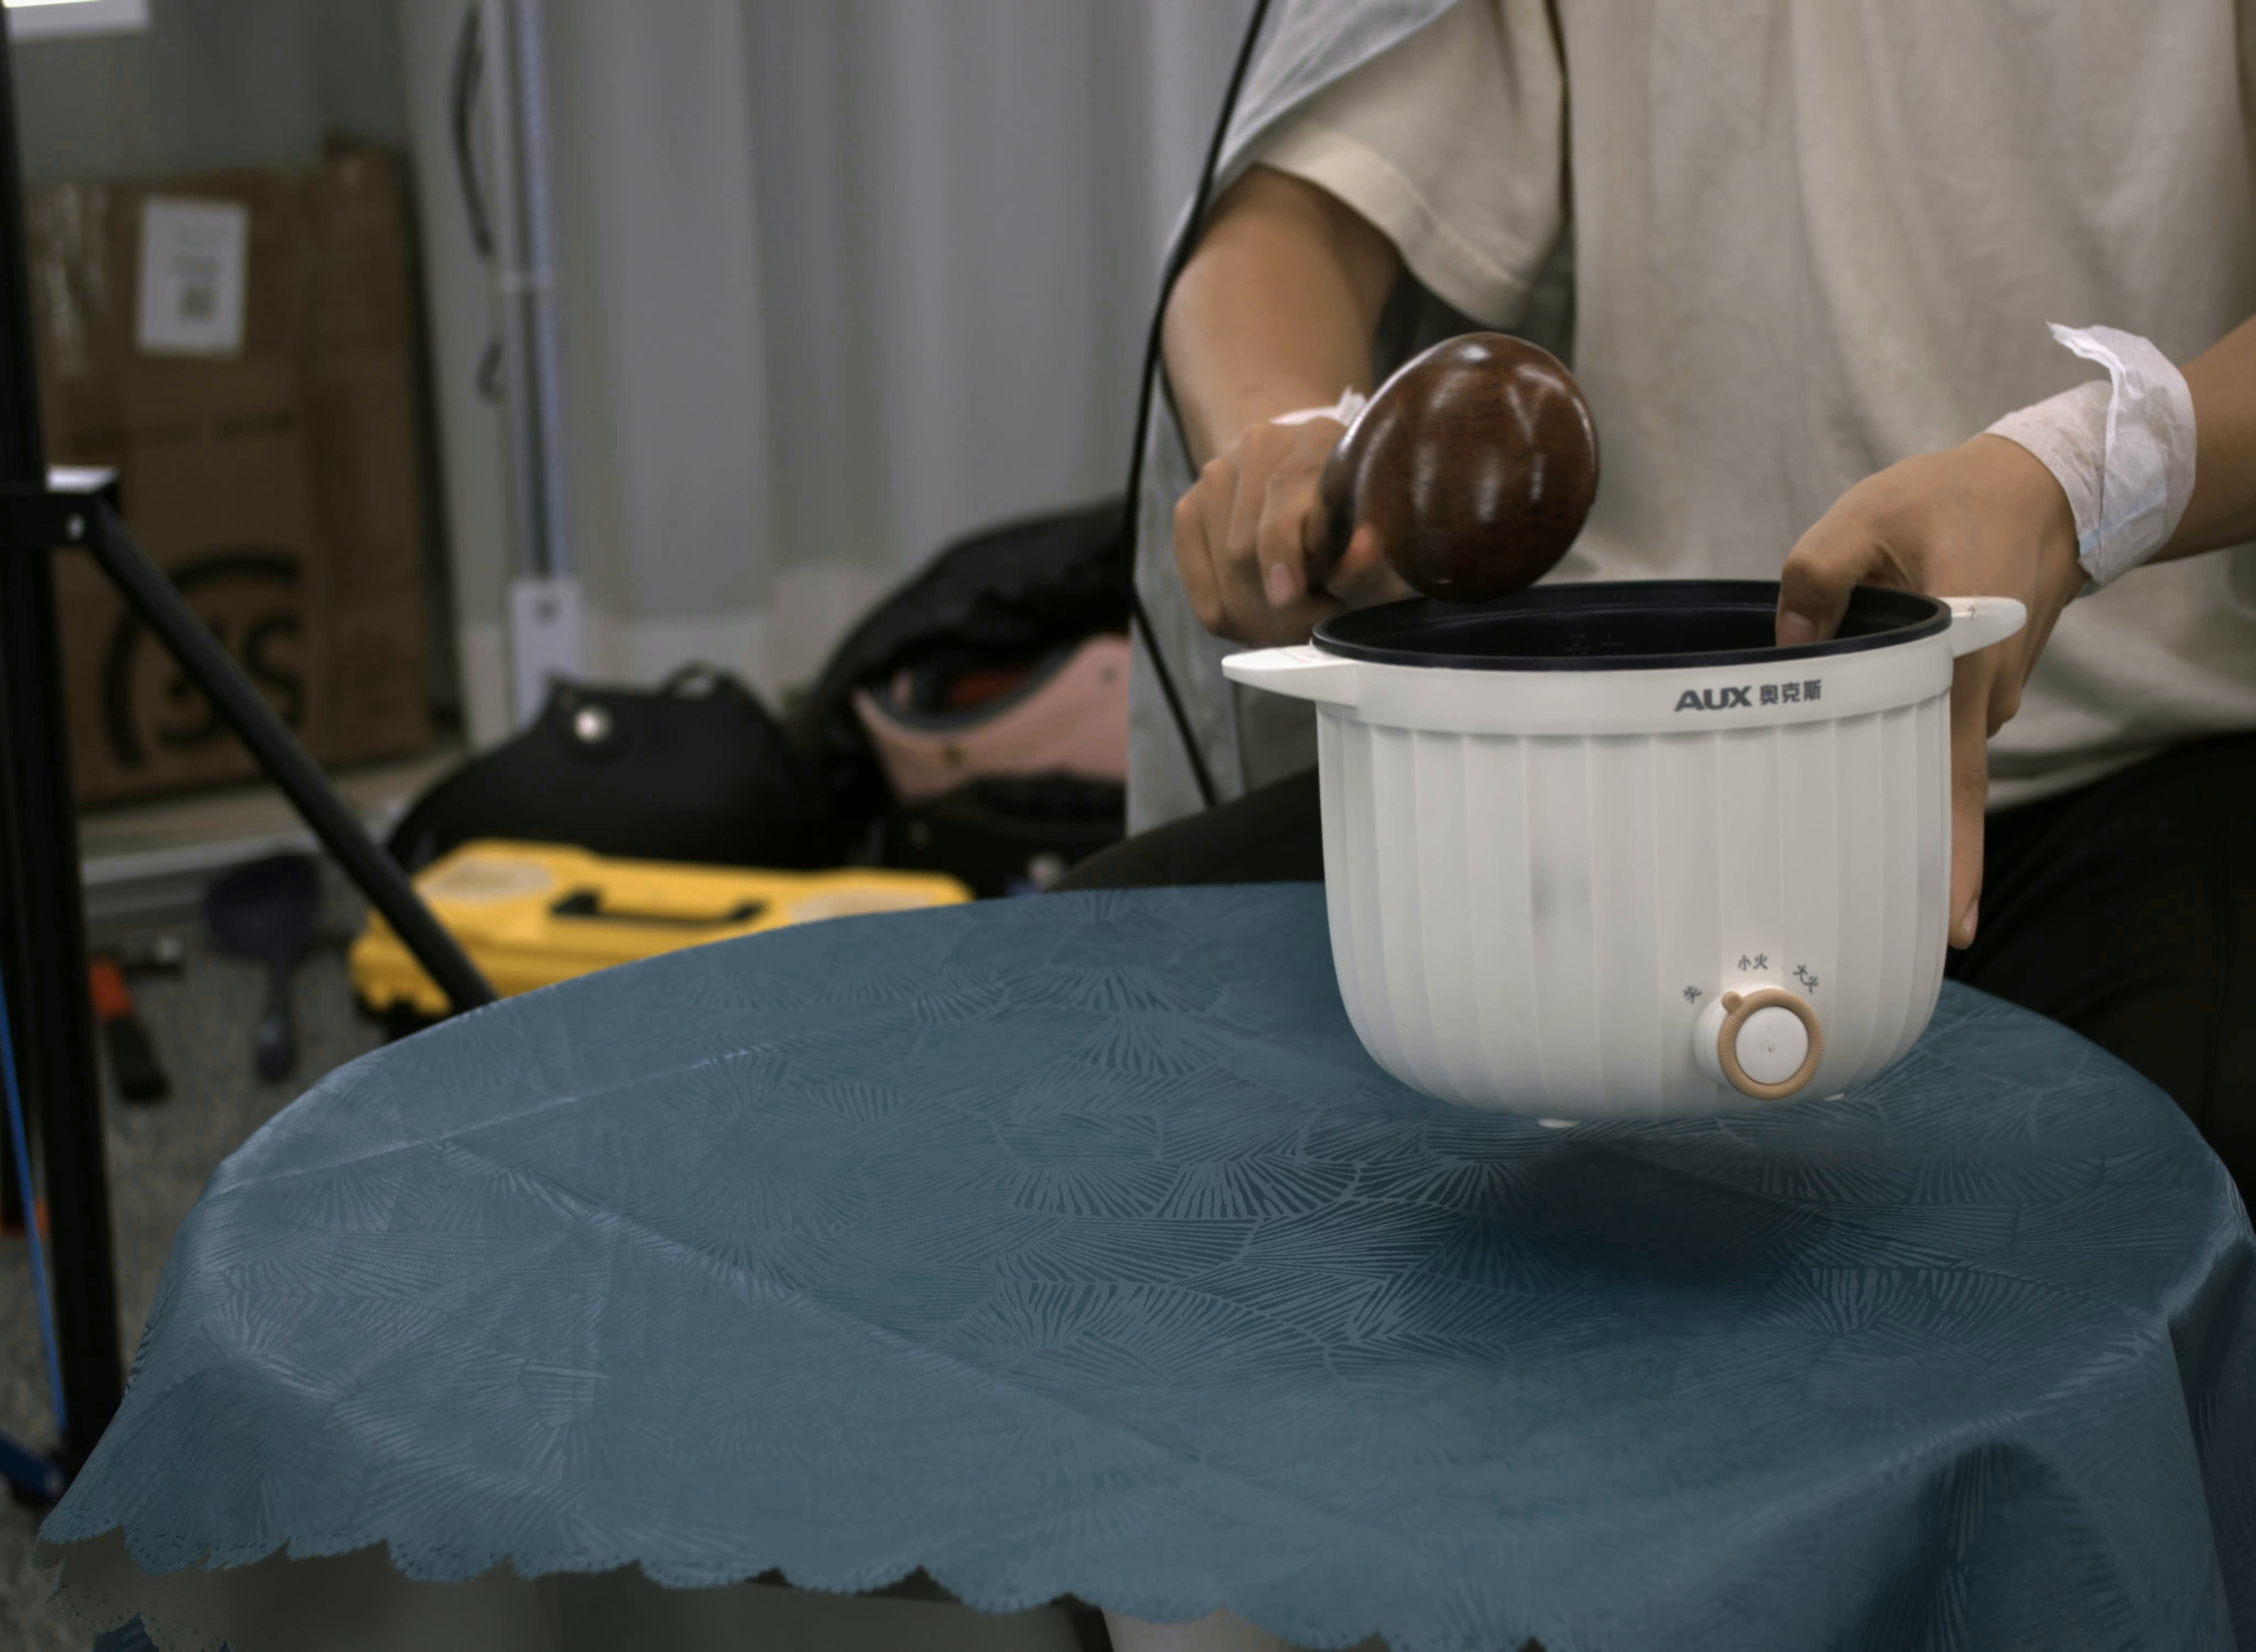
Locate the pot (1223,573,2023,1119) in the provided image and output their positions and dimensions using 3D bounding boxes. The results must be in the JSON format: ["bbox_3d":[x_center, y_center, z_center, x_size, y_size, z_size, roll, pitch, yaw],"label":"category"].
[{"bbox_3d":[0.147,0.005,1.499,0.237,0.143,0.193,-6,5,-14],"label":"pot"}]

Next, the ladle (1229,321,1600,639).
[{"bbox_3d":[0.087,-0.092,1.662,0.076,0.082,0.274,13,-10,-3],"label":"ladle"}]
